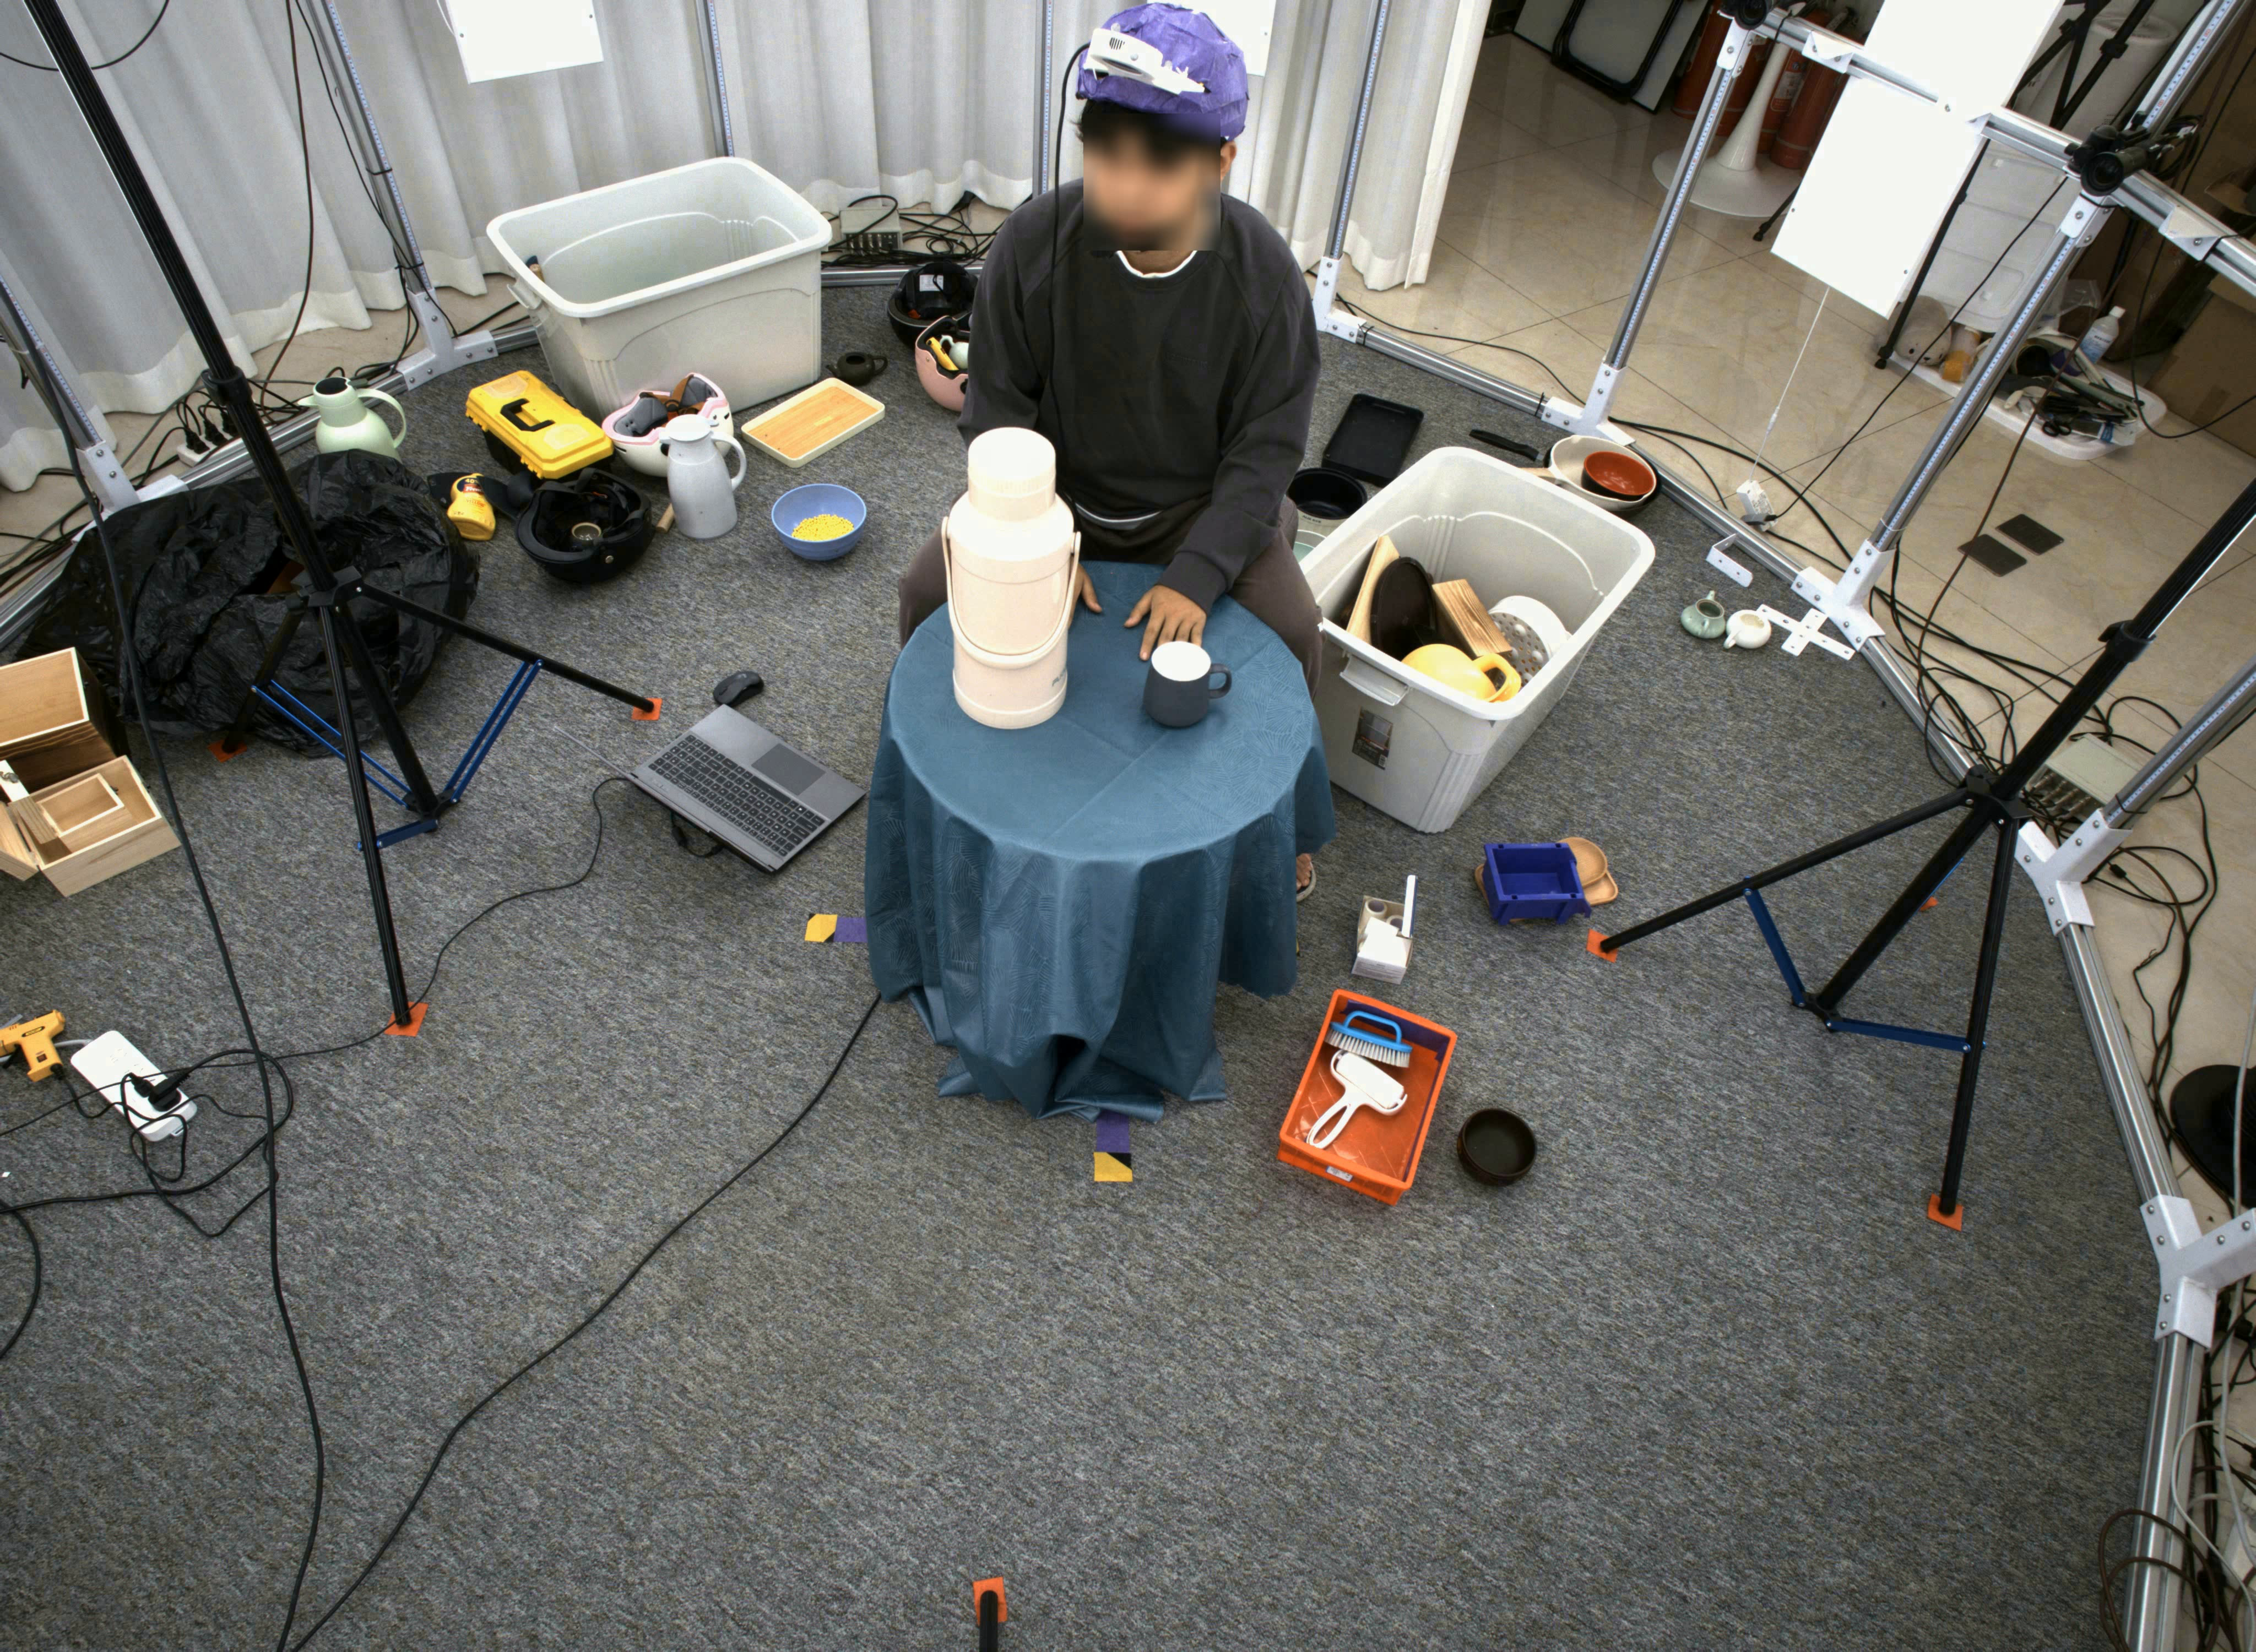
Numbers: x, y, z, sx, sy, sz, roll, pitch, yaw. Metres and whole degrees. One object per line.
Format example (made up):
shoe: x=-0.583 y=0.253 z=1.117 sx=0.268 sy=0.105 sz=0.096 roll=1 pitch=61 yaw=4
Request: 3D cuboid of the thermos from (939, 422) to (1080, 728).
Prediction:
thermos: x=-0.151 y=-0.331 z=1.685 sx=0.175 sy=0.396 sz=0.212 roll=6 pitch=49 yaw=1

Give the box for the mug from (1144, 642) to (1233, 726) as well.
mug: x=0.085 y=-0.198 z=1.785 sx=0.123 sy=0.088 sz=0.096 roll=-4 pitch=49 yaw=-8
